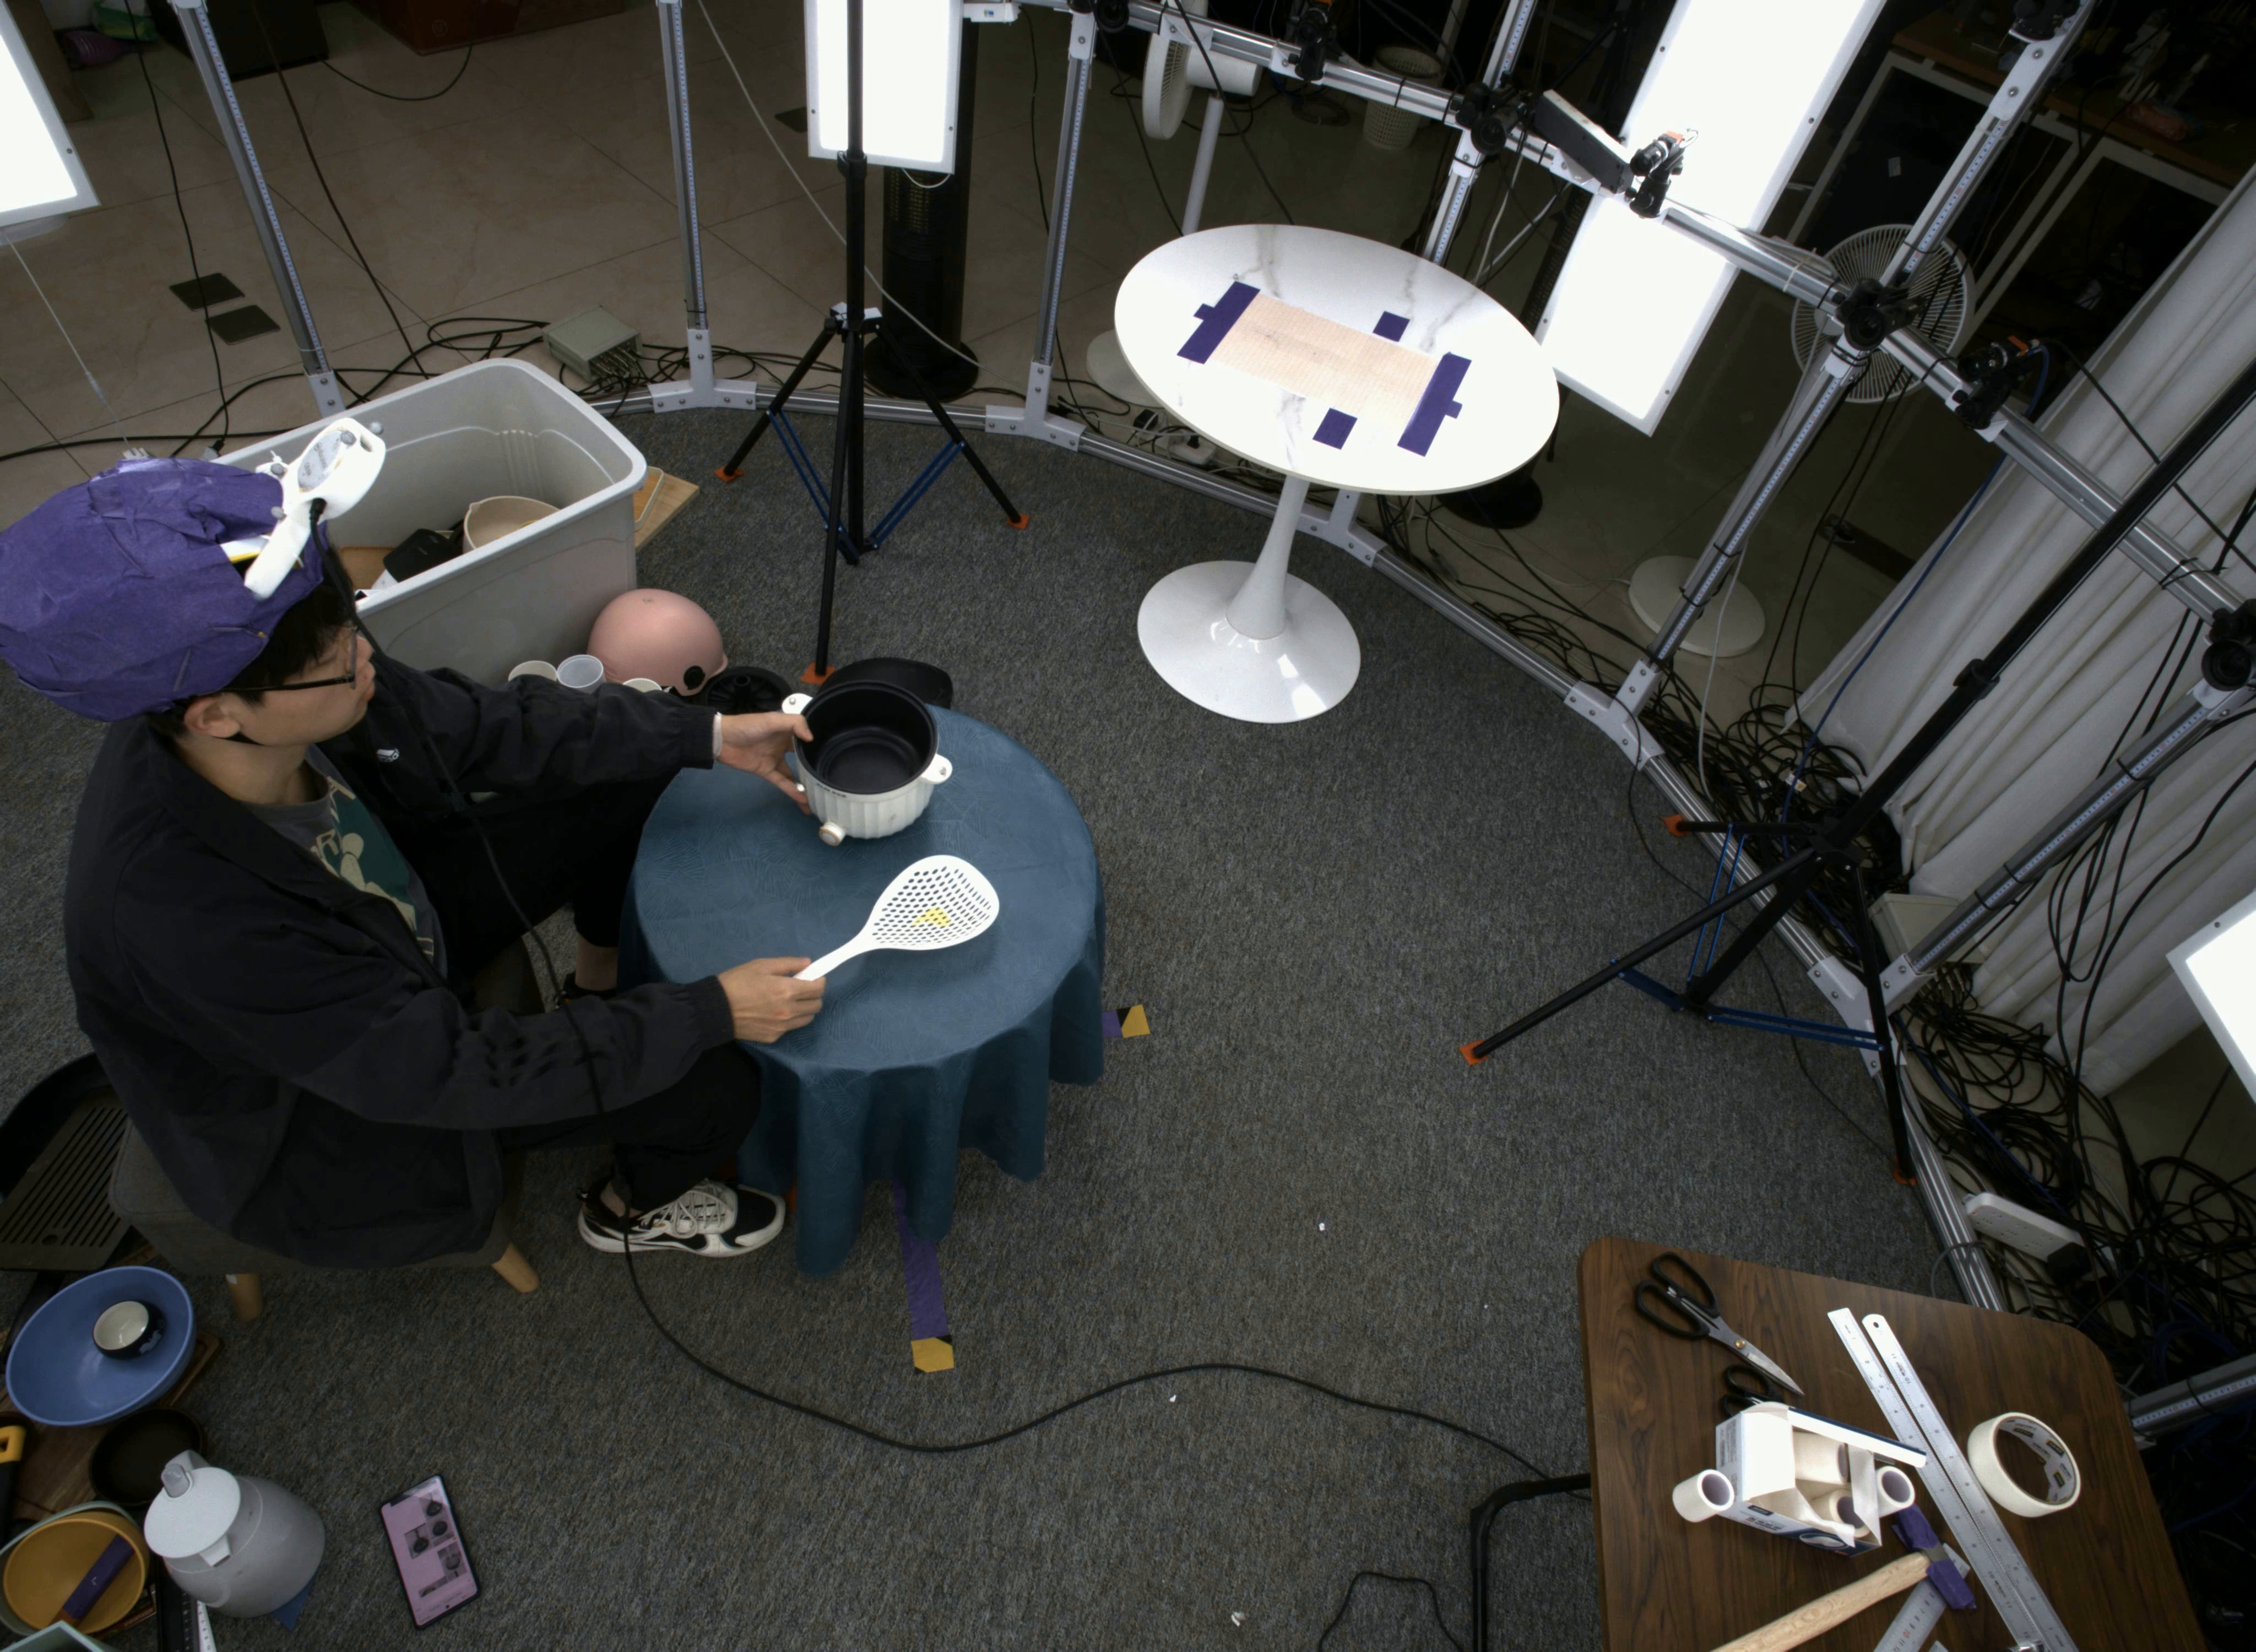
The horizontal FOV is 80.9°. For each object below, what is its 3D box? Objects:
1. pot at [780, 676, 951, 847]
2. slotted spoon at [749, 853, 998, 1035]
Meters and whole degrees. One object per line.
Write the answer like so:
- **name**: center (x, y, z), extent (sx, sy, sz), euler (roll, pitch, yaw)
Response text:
- **pot**: center (-0.343, -0.077, 1.696), extent (0.237, 0.146, 0.189), euler (23, 53, 6)
- **slotted spoon**: center (-0.314, 0.146, 1.586), extent (0.349, 0.051, 0.133), euler (-29, 63, -35)
